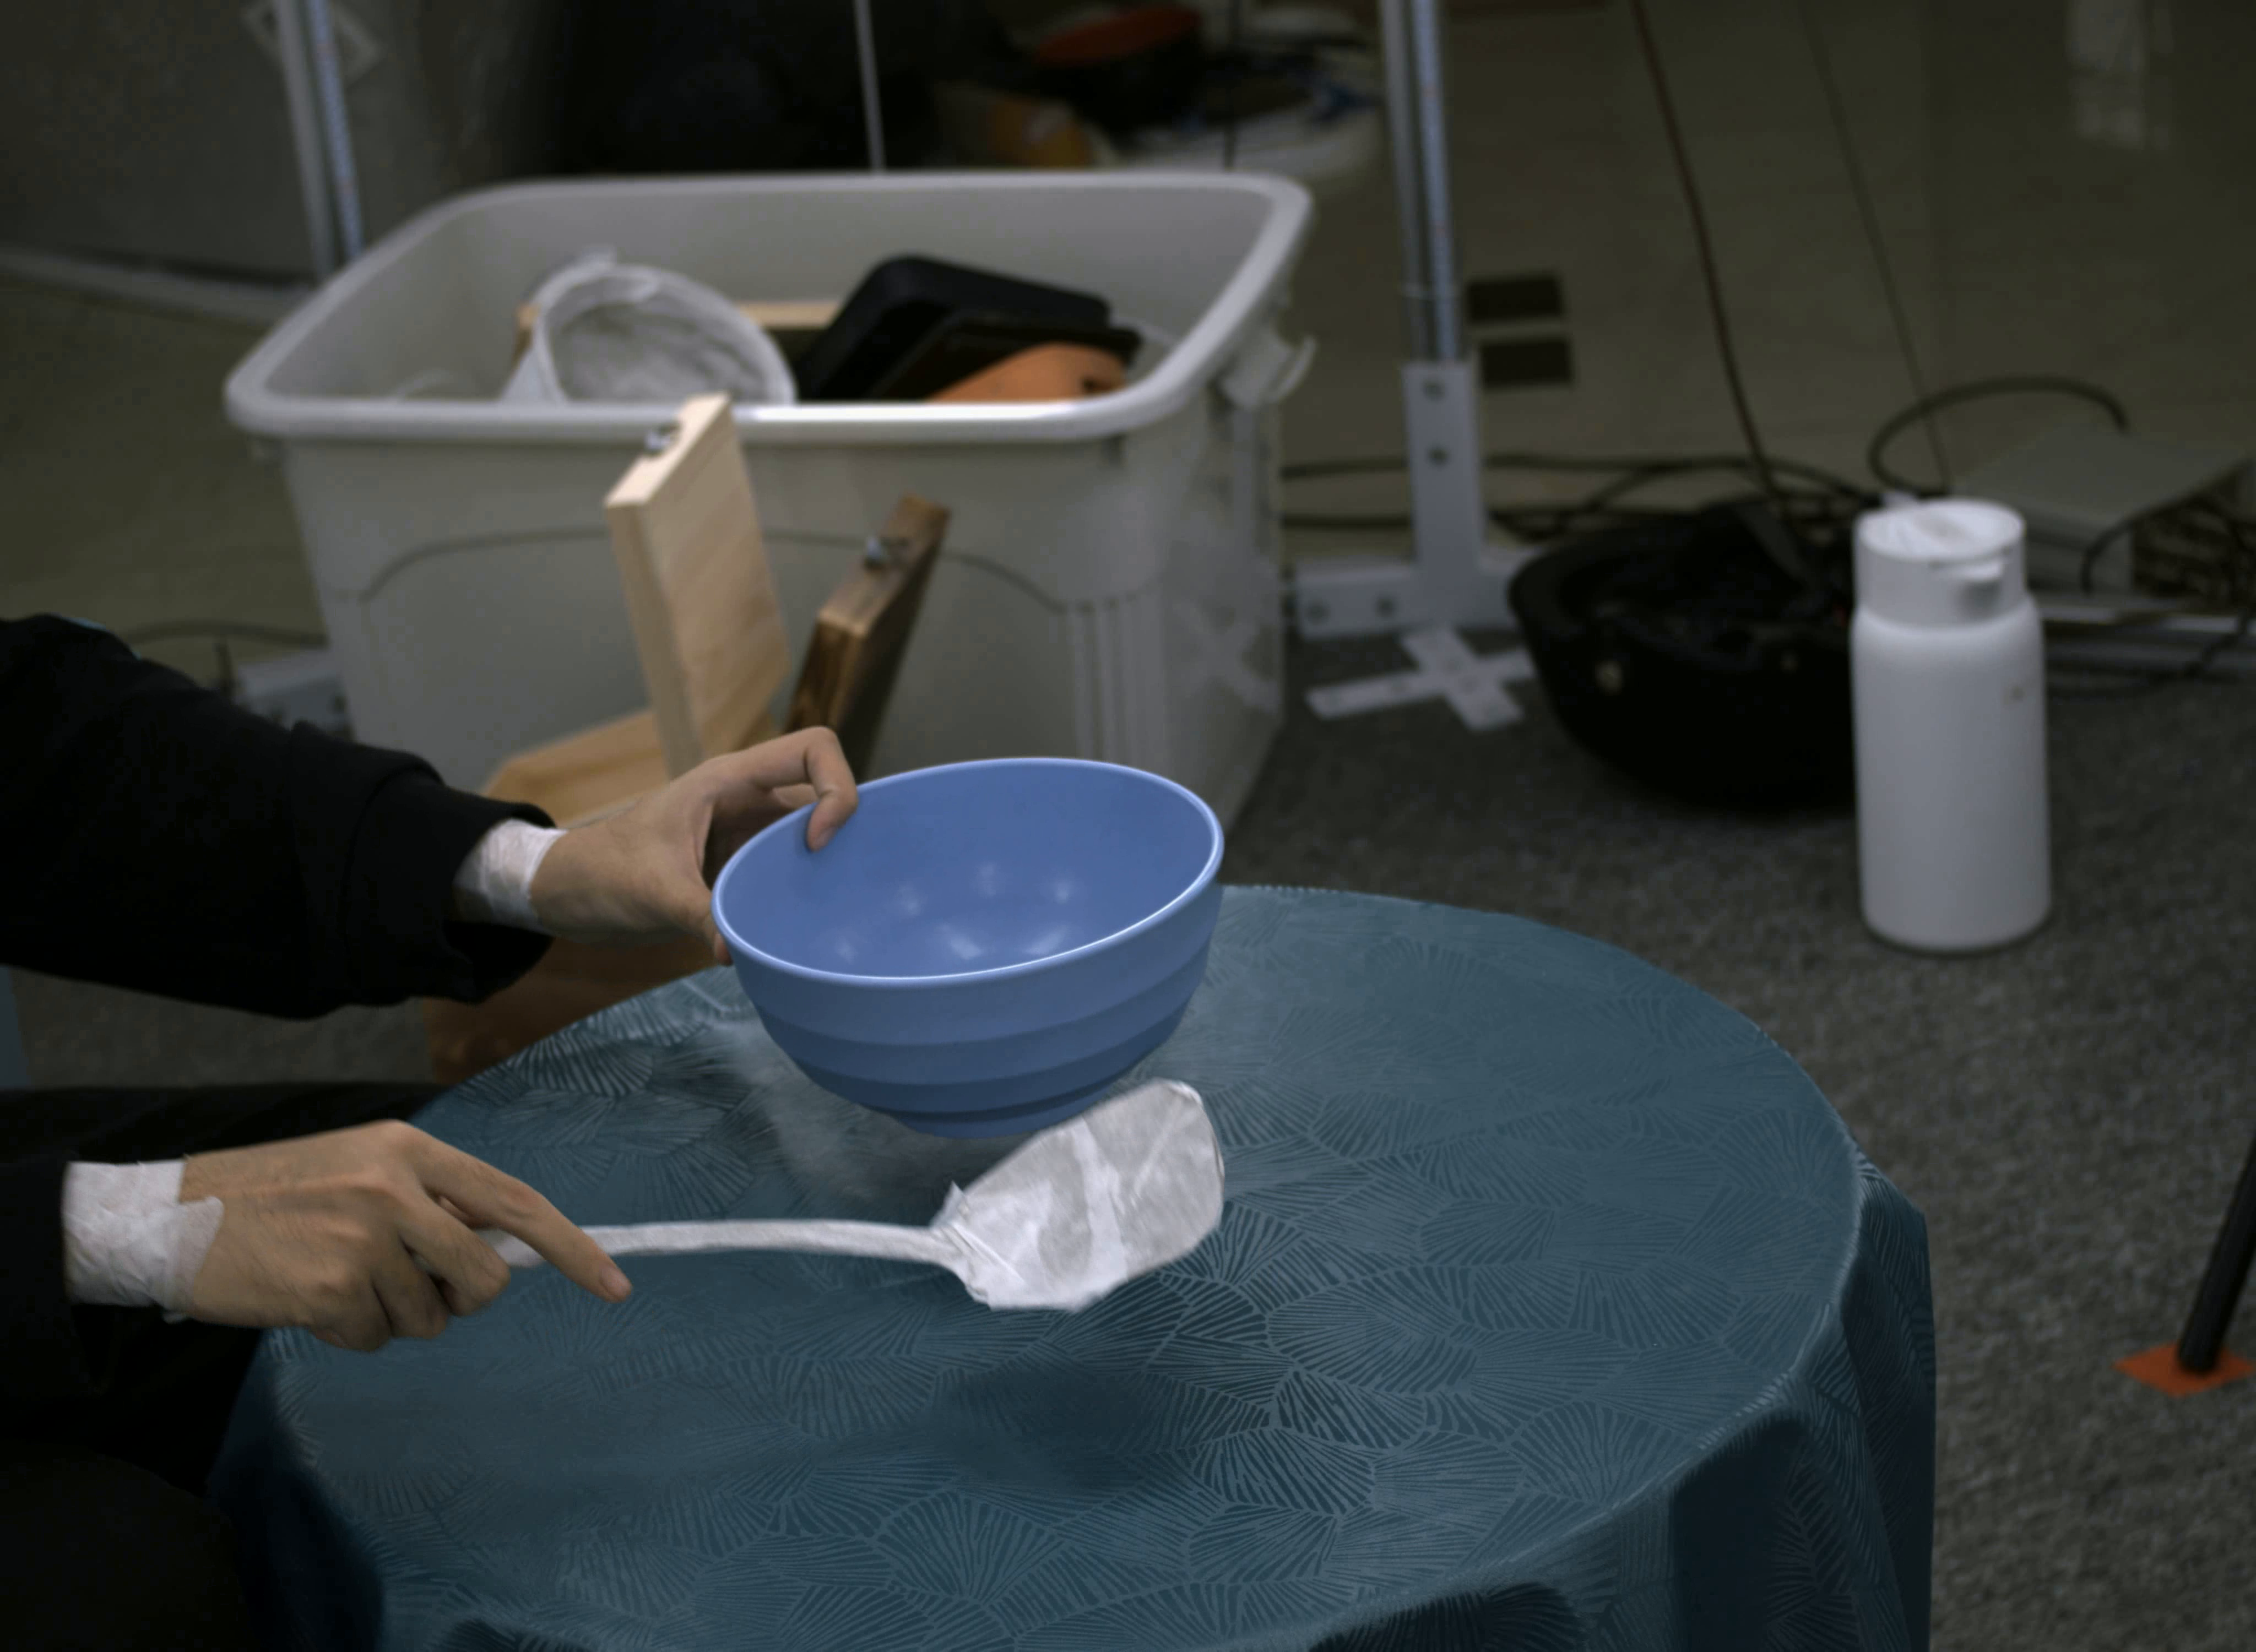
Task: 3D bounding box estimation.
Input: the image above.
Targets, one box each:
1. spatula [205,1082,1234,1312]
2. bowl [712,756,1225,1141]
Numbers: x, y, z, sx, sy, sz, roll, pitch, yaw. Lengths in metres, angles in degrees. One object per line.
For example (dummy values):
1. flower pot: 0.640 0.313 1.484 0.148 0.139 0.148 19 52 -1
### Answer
1. spatula: -0.144 0.141 1.986 0.364 0.045 0.097 -2 38 -2
2. bowl: -0.055 0.058 2.165 0.196 0.097 0.193 -6 26 3
